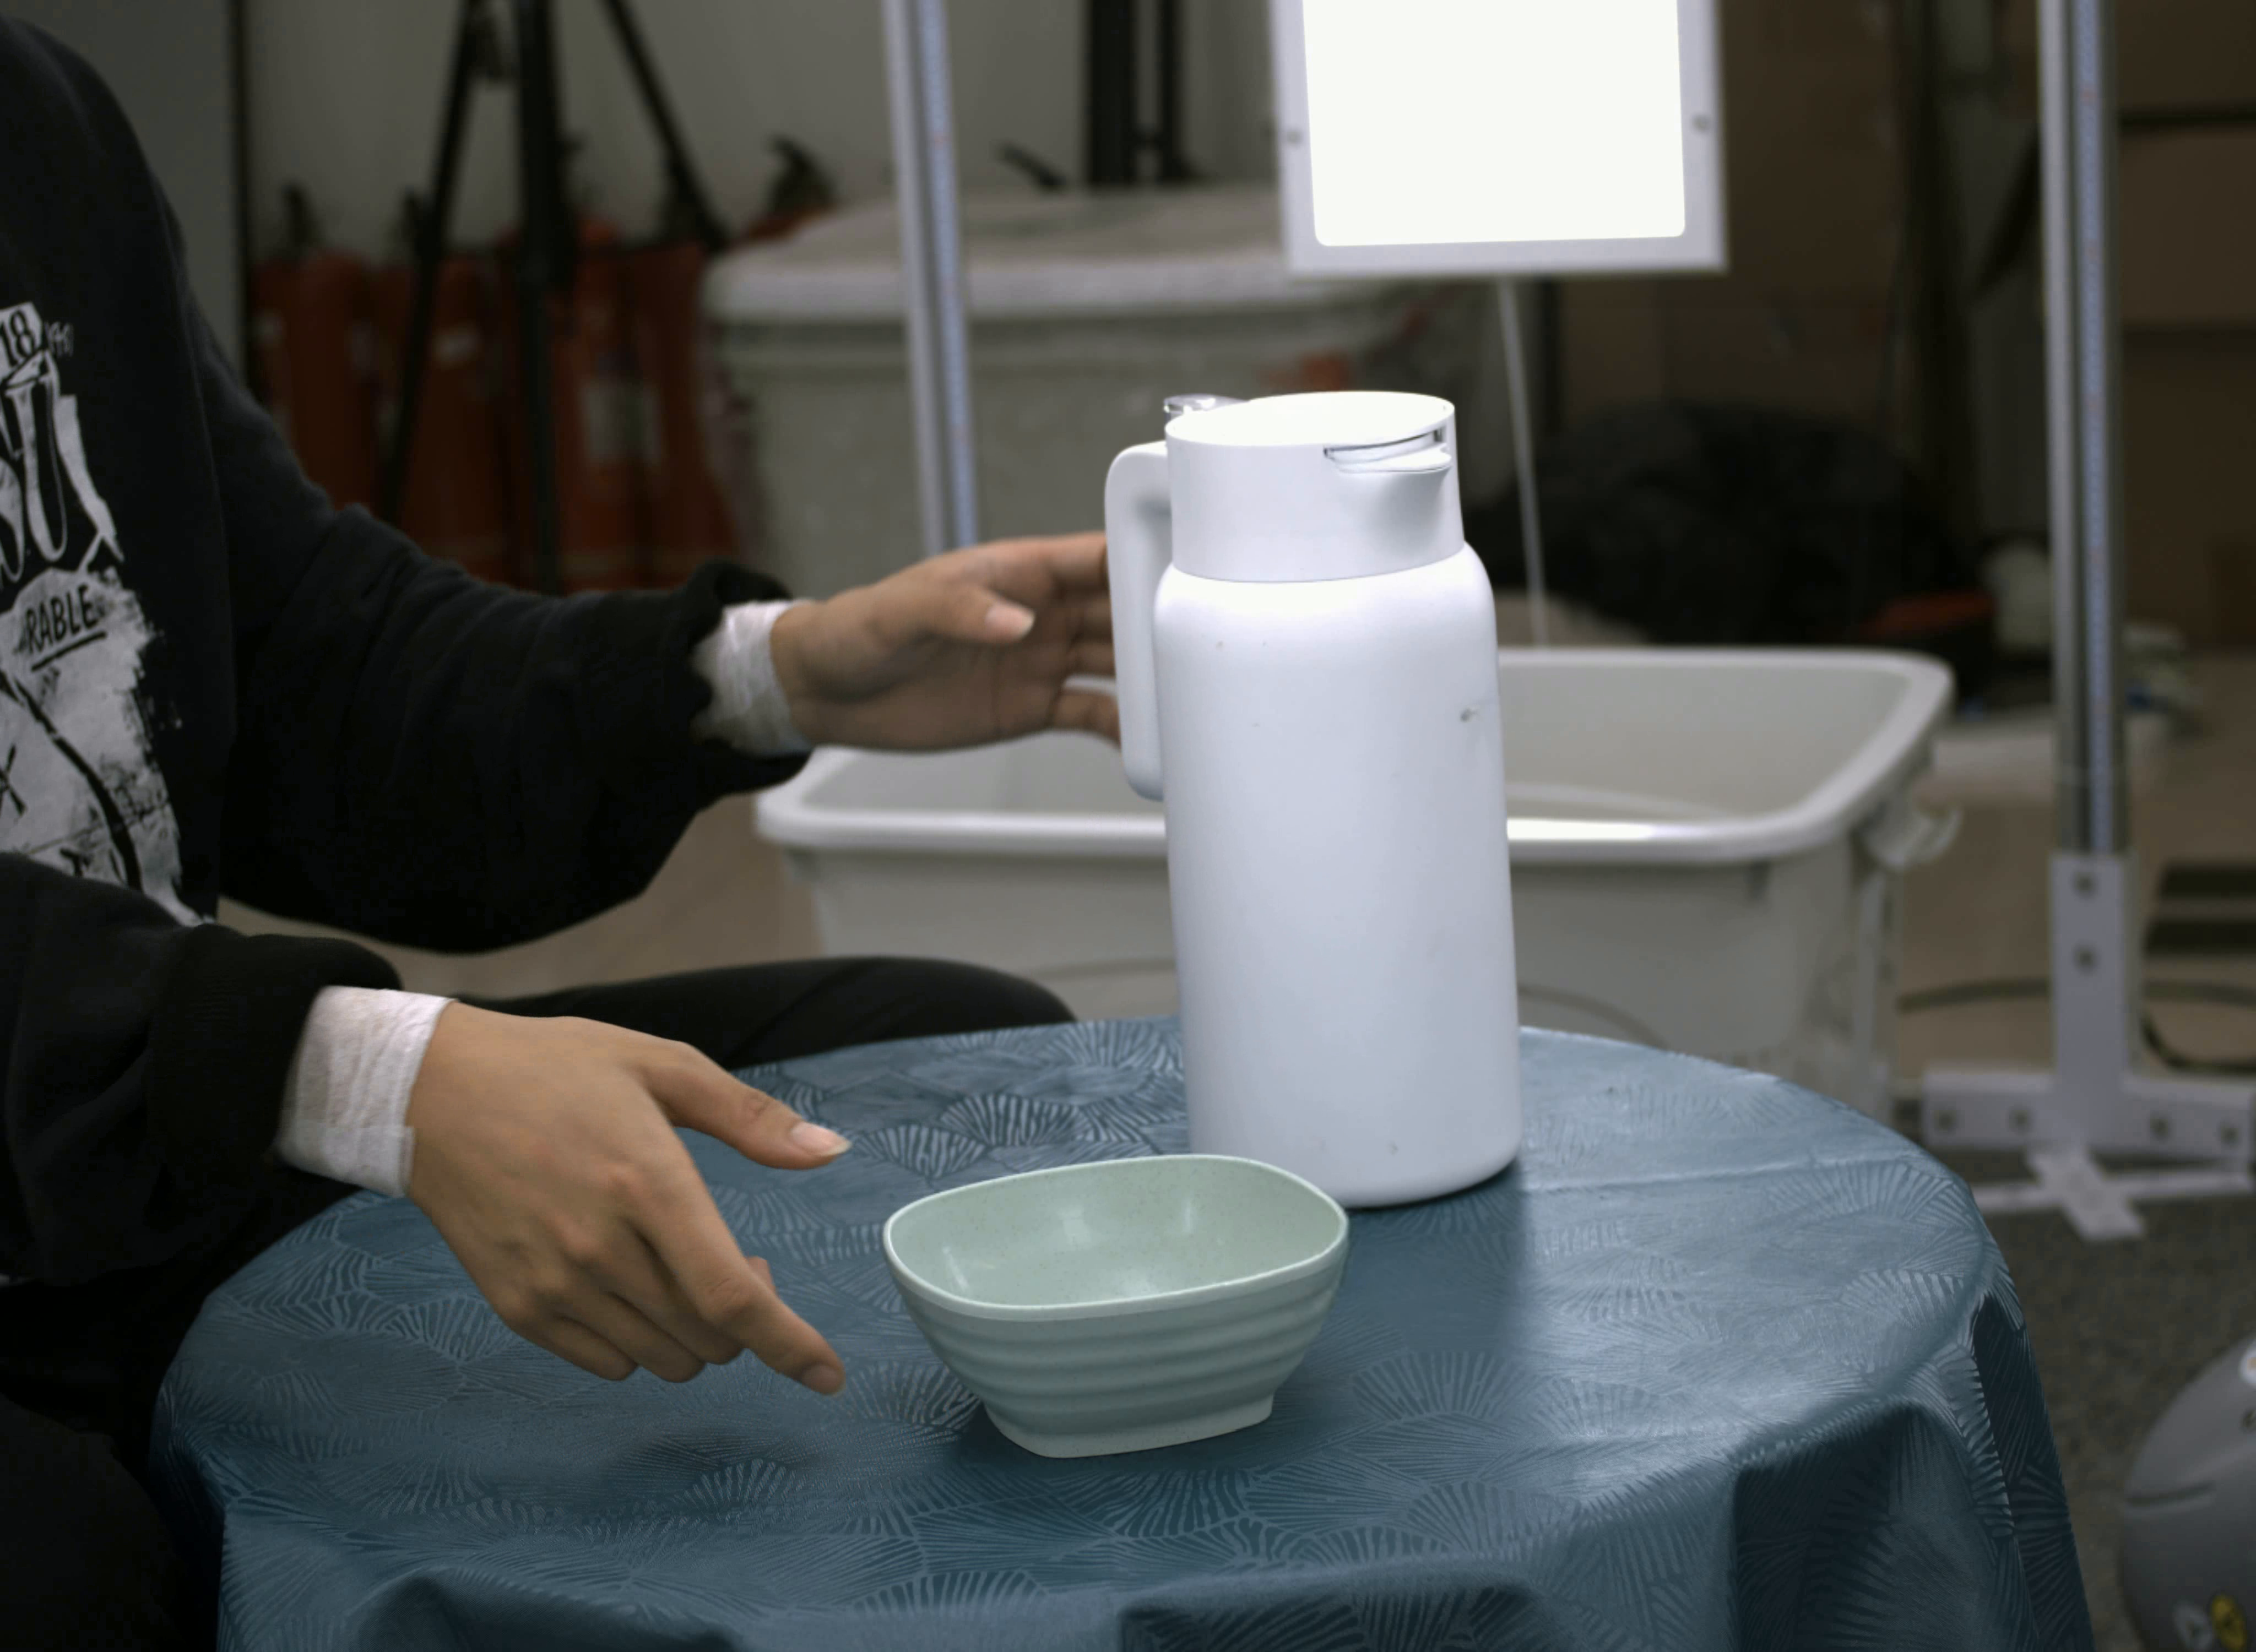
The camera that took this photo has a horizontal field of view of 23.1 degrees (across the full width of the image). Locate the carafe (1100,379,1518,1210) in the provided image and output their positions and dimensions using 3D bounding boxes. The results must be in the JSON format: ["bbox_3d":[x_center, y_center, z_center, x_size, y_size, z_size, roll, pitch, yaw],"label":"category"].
[{"bbox_3d":[0.058,-0.013,1.885,0.121,0.270,0.176,-17,18,-34],"label":"carafe"}]

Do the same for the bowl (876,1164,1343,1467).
[{"bbox_3d":[-0.004,0.153,1.685,0.151,0.059,0.151,-5,13,0],"label":"bowl"}]
